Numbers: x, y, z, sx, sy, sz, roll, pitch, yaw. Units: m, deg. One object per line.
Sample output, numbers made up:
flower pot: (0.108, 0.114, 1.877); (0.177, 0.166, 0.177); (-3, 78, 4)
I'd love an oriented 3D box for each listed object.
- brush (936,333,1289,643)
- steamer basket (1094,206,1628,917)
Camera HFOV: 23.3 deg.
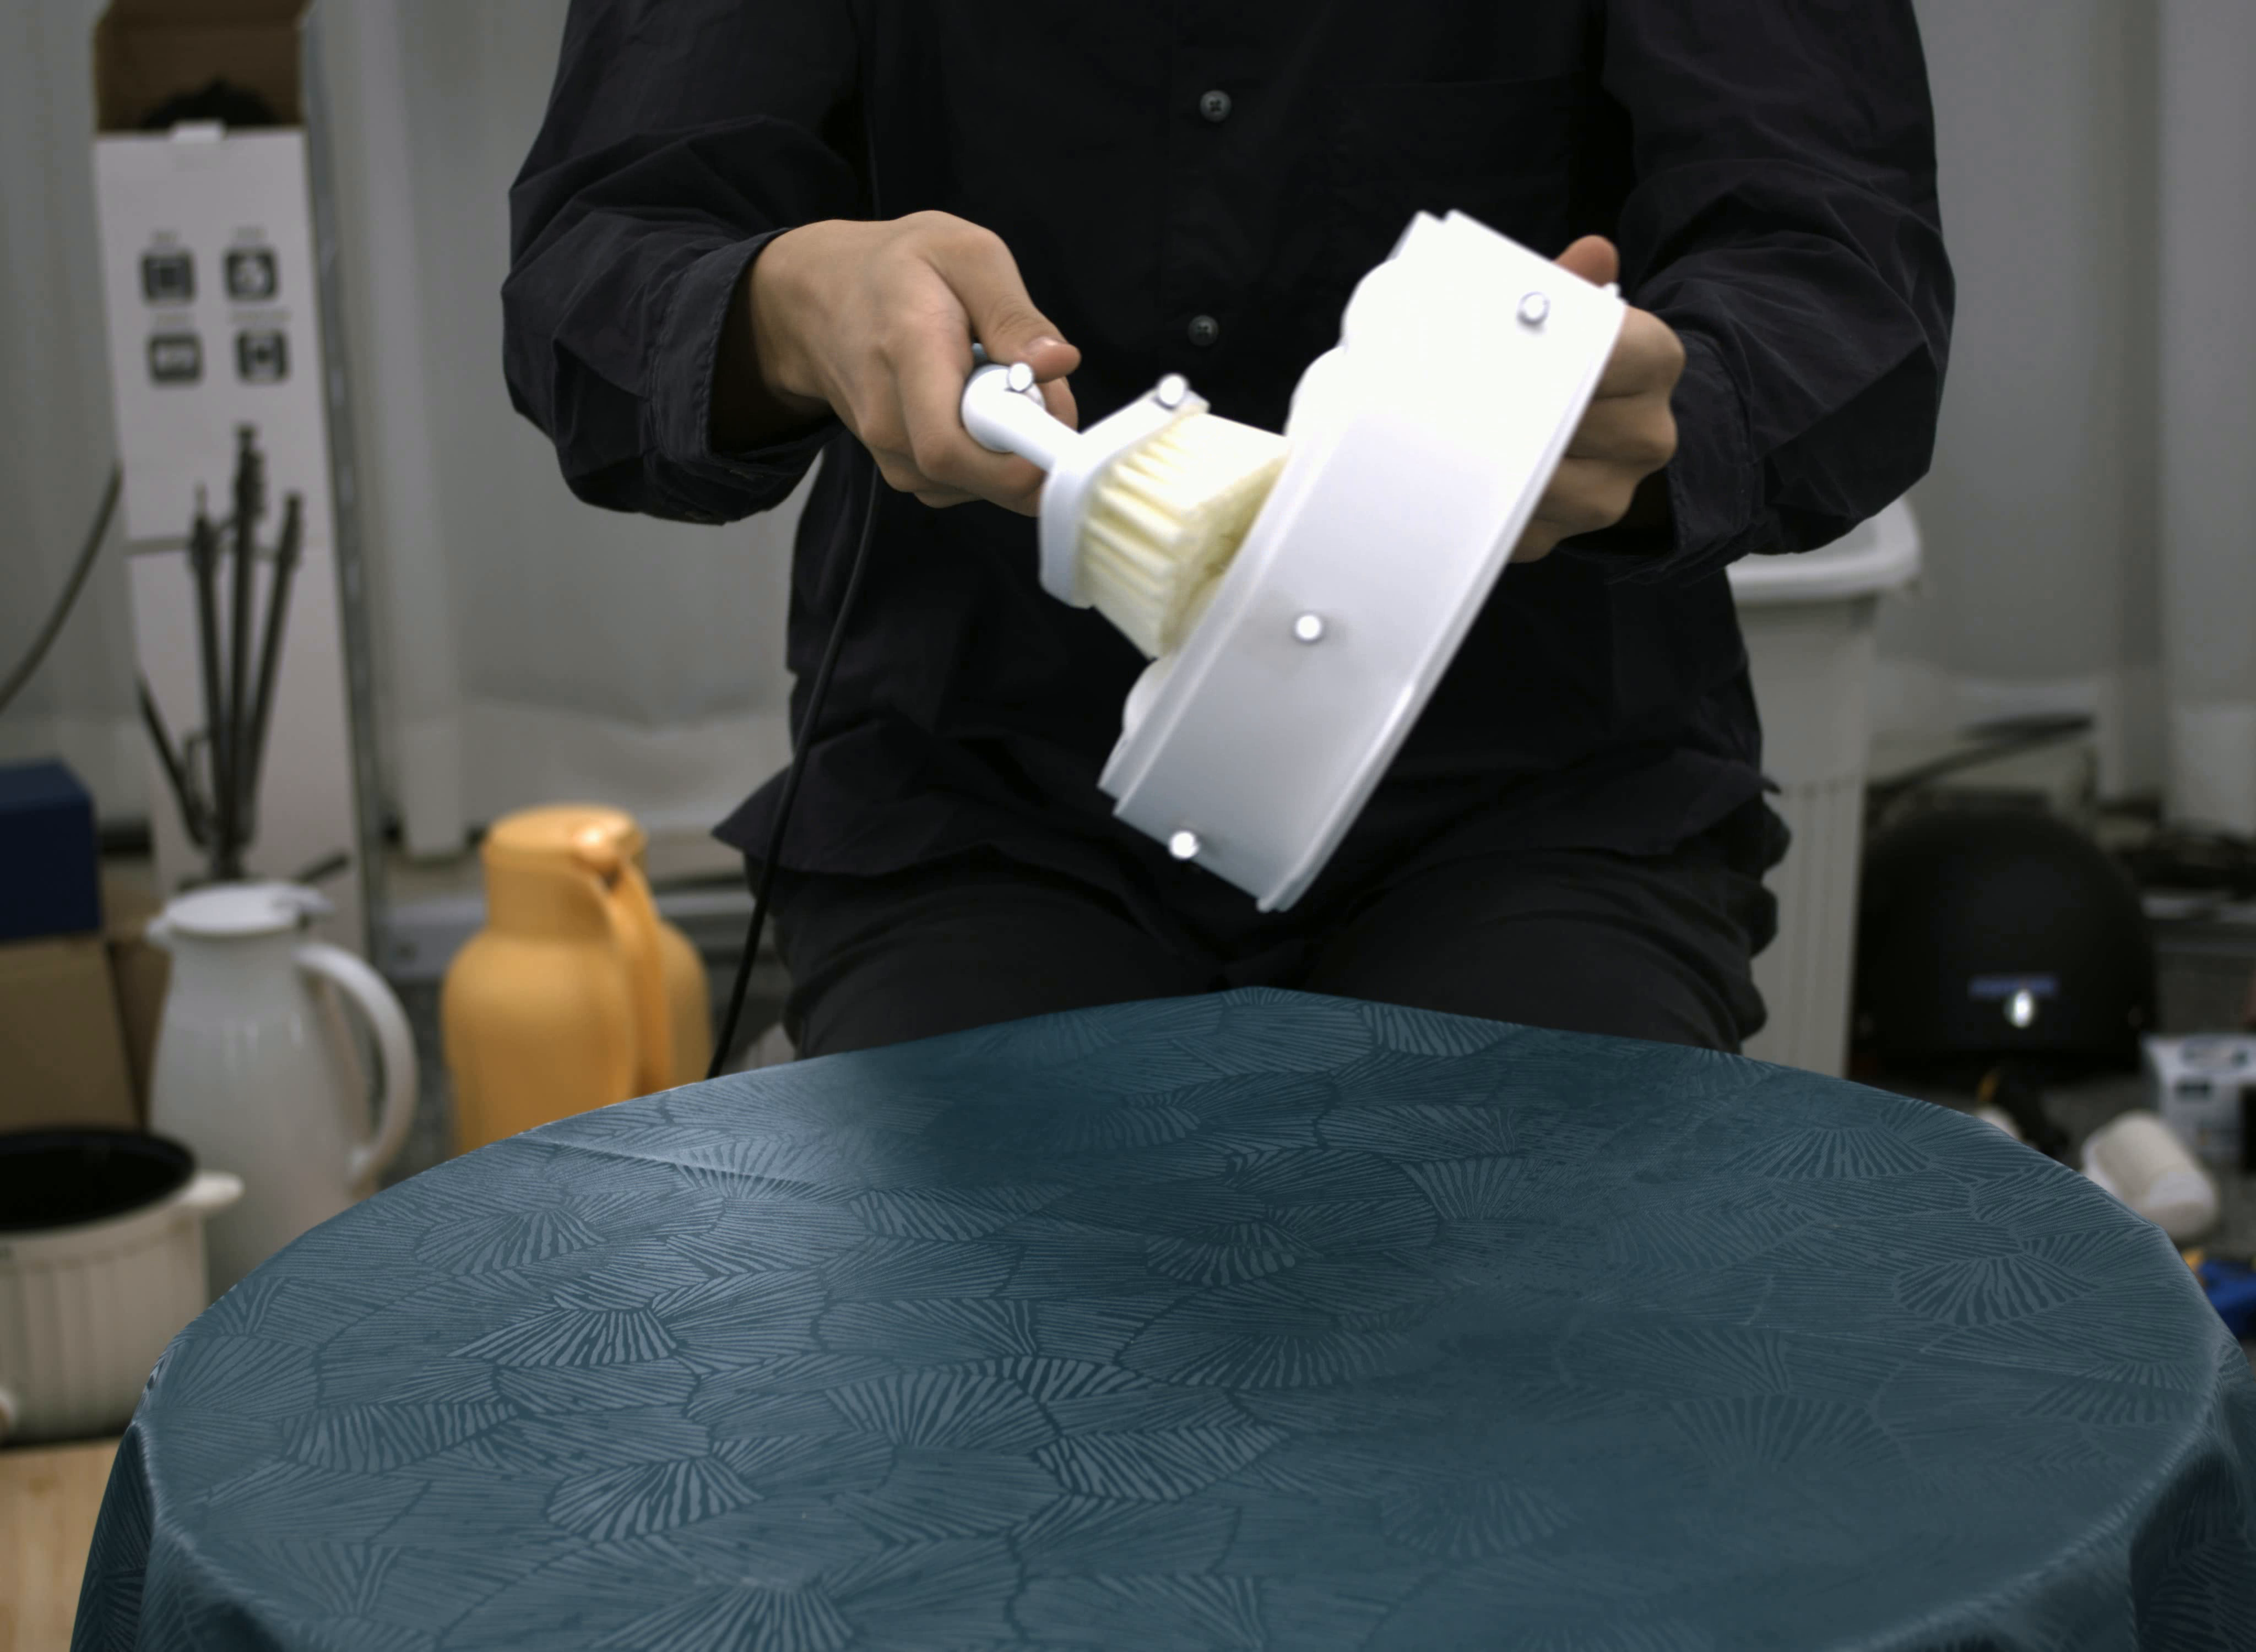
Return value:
brush: (0.002, -0.106, 1.600); (0.083, 0.084, 0.327); (-24, 10, -2)
steamer basket: (0.061, -0.076, 1.528); (0.069, 0.200, 0.233); (29, 37, -3)
